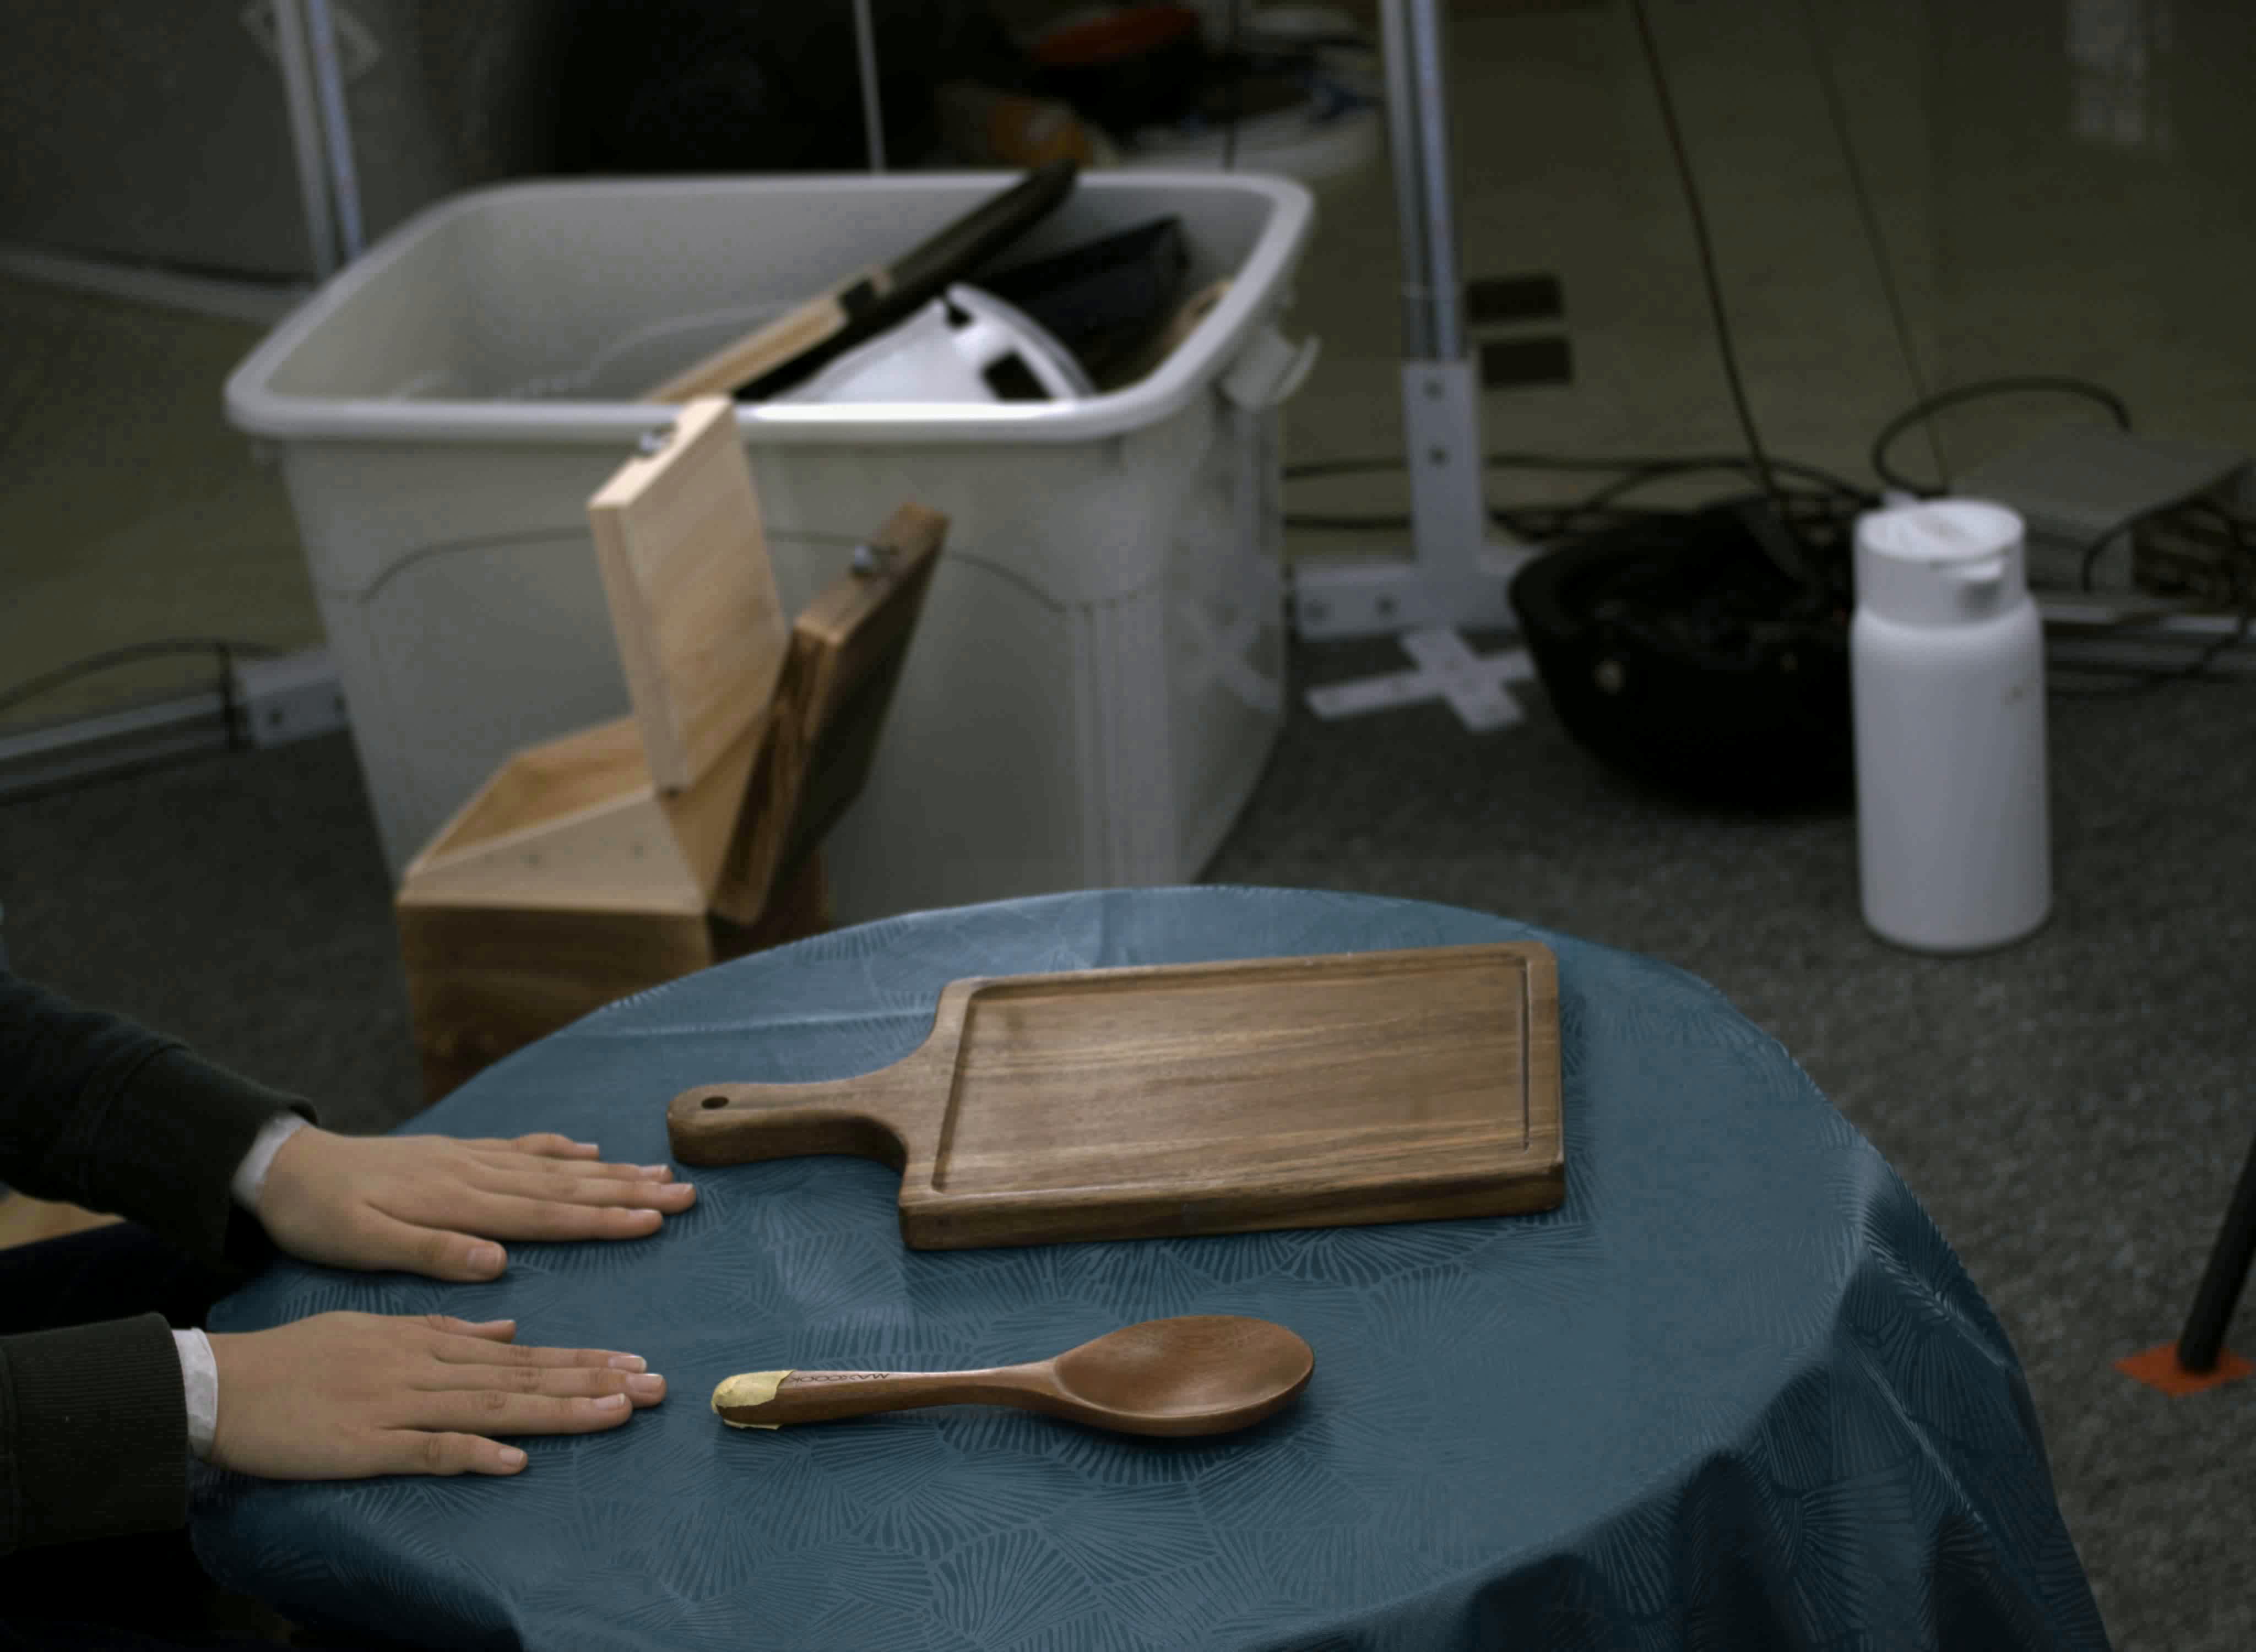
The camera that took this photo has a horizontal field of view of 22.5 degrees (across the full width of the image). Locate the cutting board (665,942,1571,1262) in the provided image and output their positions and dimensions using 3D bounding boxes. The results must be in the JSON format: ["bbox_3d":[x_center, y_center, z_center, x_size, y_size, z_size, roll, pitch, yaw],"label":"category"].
[{"bbox_3d":[-0.005,0.108,2.201,0.351,0.023,0.198,-4,26,6],"label":"cutting board"}]

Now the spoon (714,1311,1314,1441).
[{"bbox_3d":[-0.041,0.199,2.013,0.215,0.017,0.074,-2,27,8],"label":"spoon"}]
